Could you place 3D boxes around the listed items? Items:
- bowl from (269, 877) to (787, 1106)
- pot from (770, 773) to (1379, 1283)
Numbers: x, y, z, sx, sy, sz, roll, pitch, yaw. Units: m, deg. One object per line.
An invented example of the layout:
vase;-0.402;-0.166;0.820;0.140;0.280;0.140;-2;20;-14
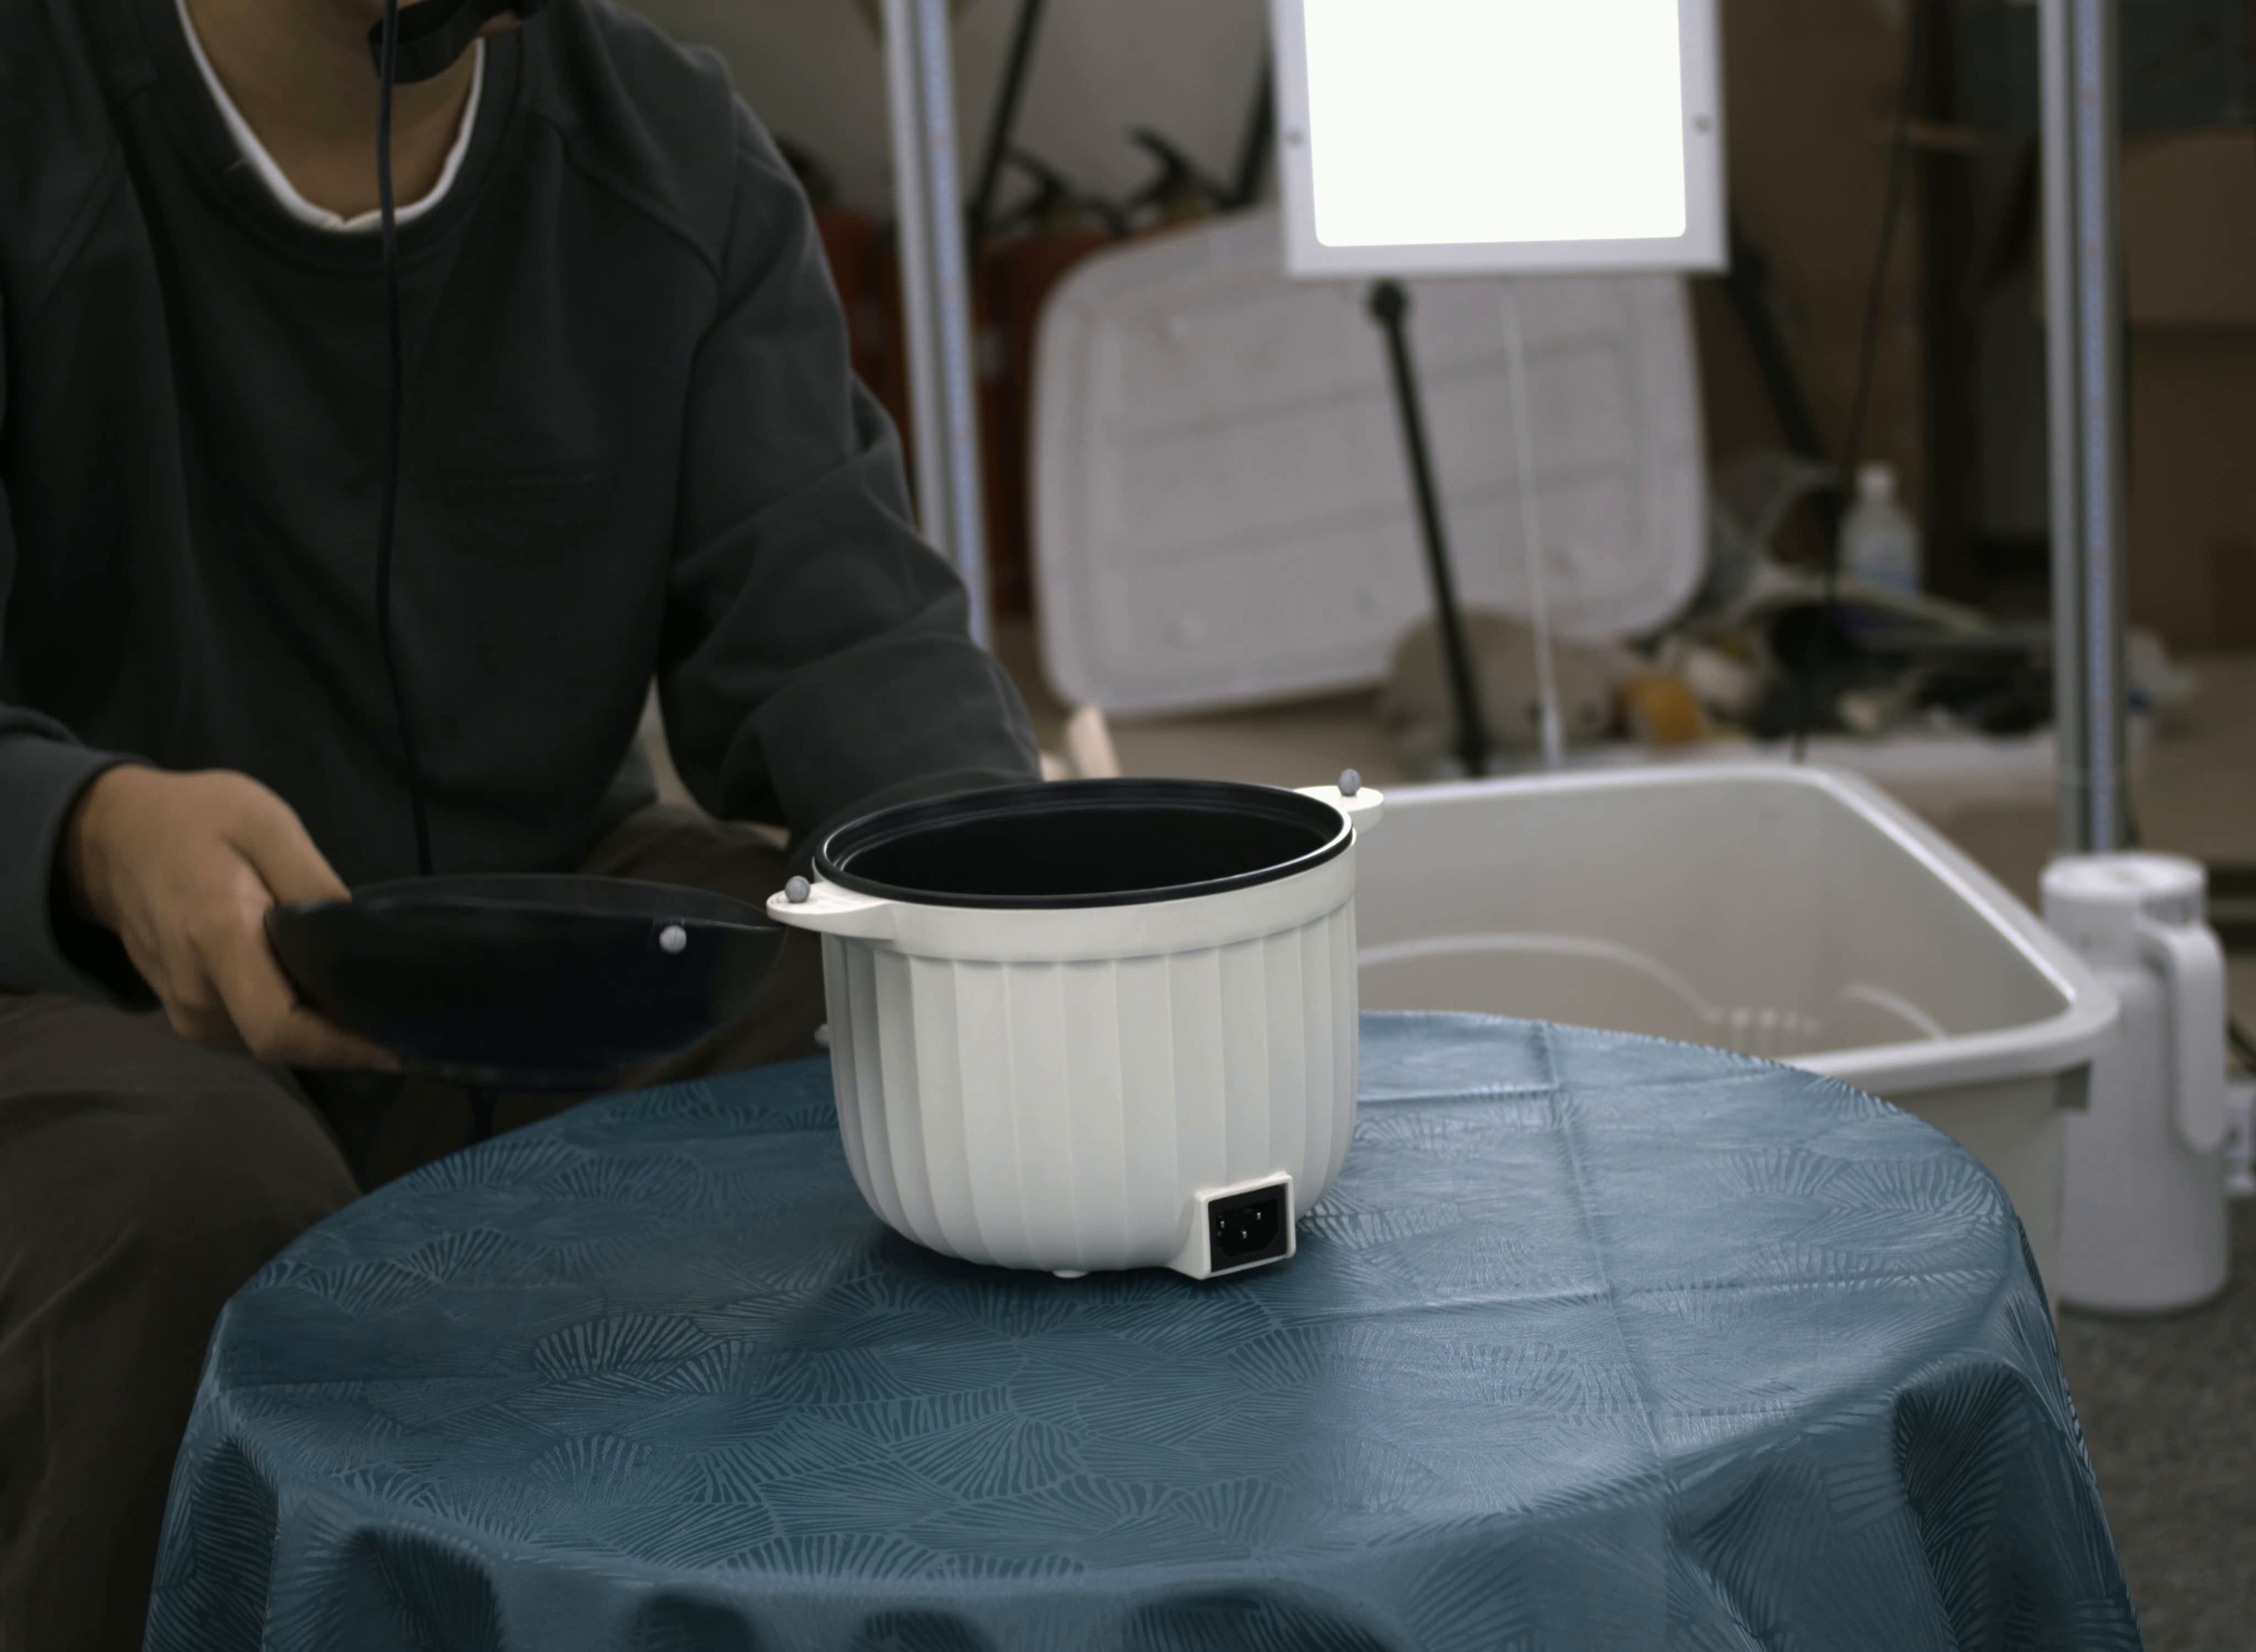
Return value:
bowl;-0.195;0.054;1.784;0.171;0.067;0.136;2;4;6
pot;-0.016;0.067;1.851;0.234;0.143;0.194;-10;18;-32
